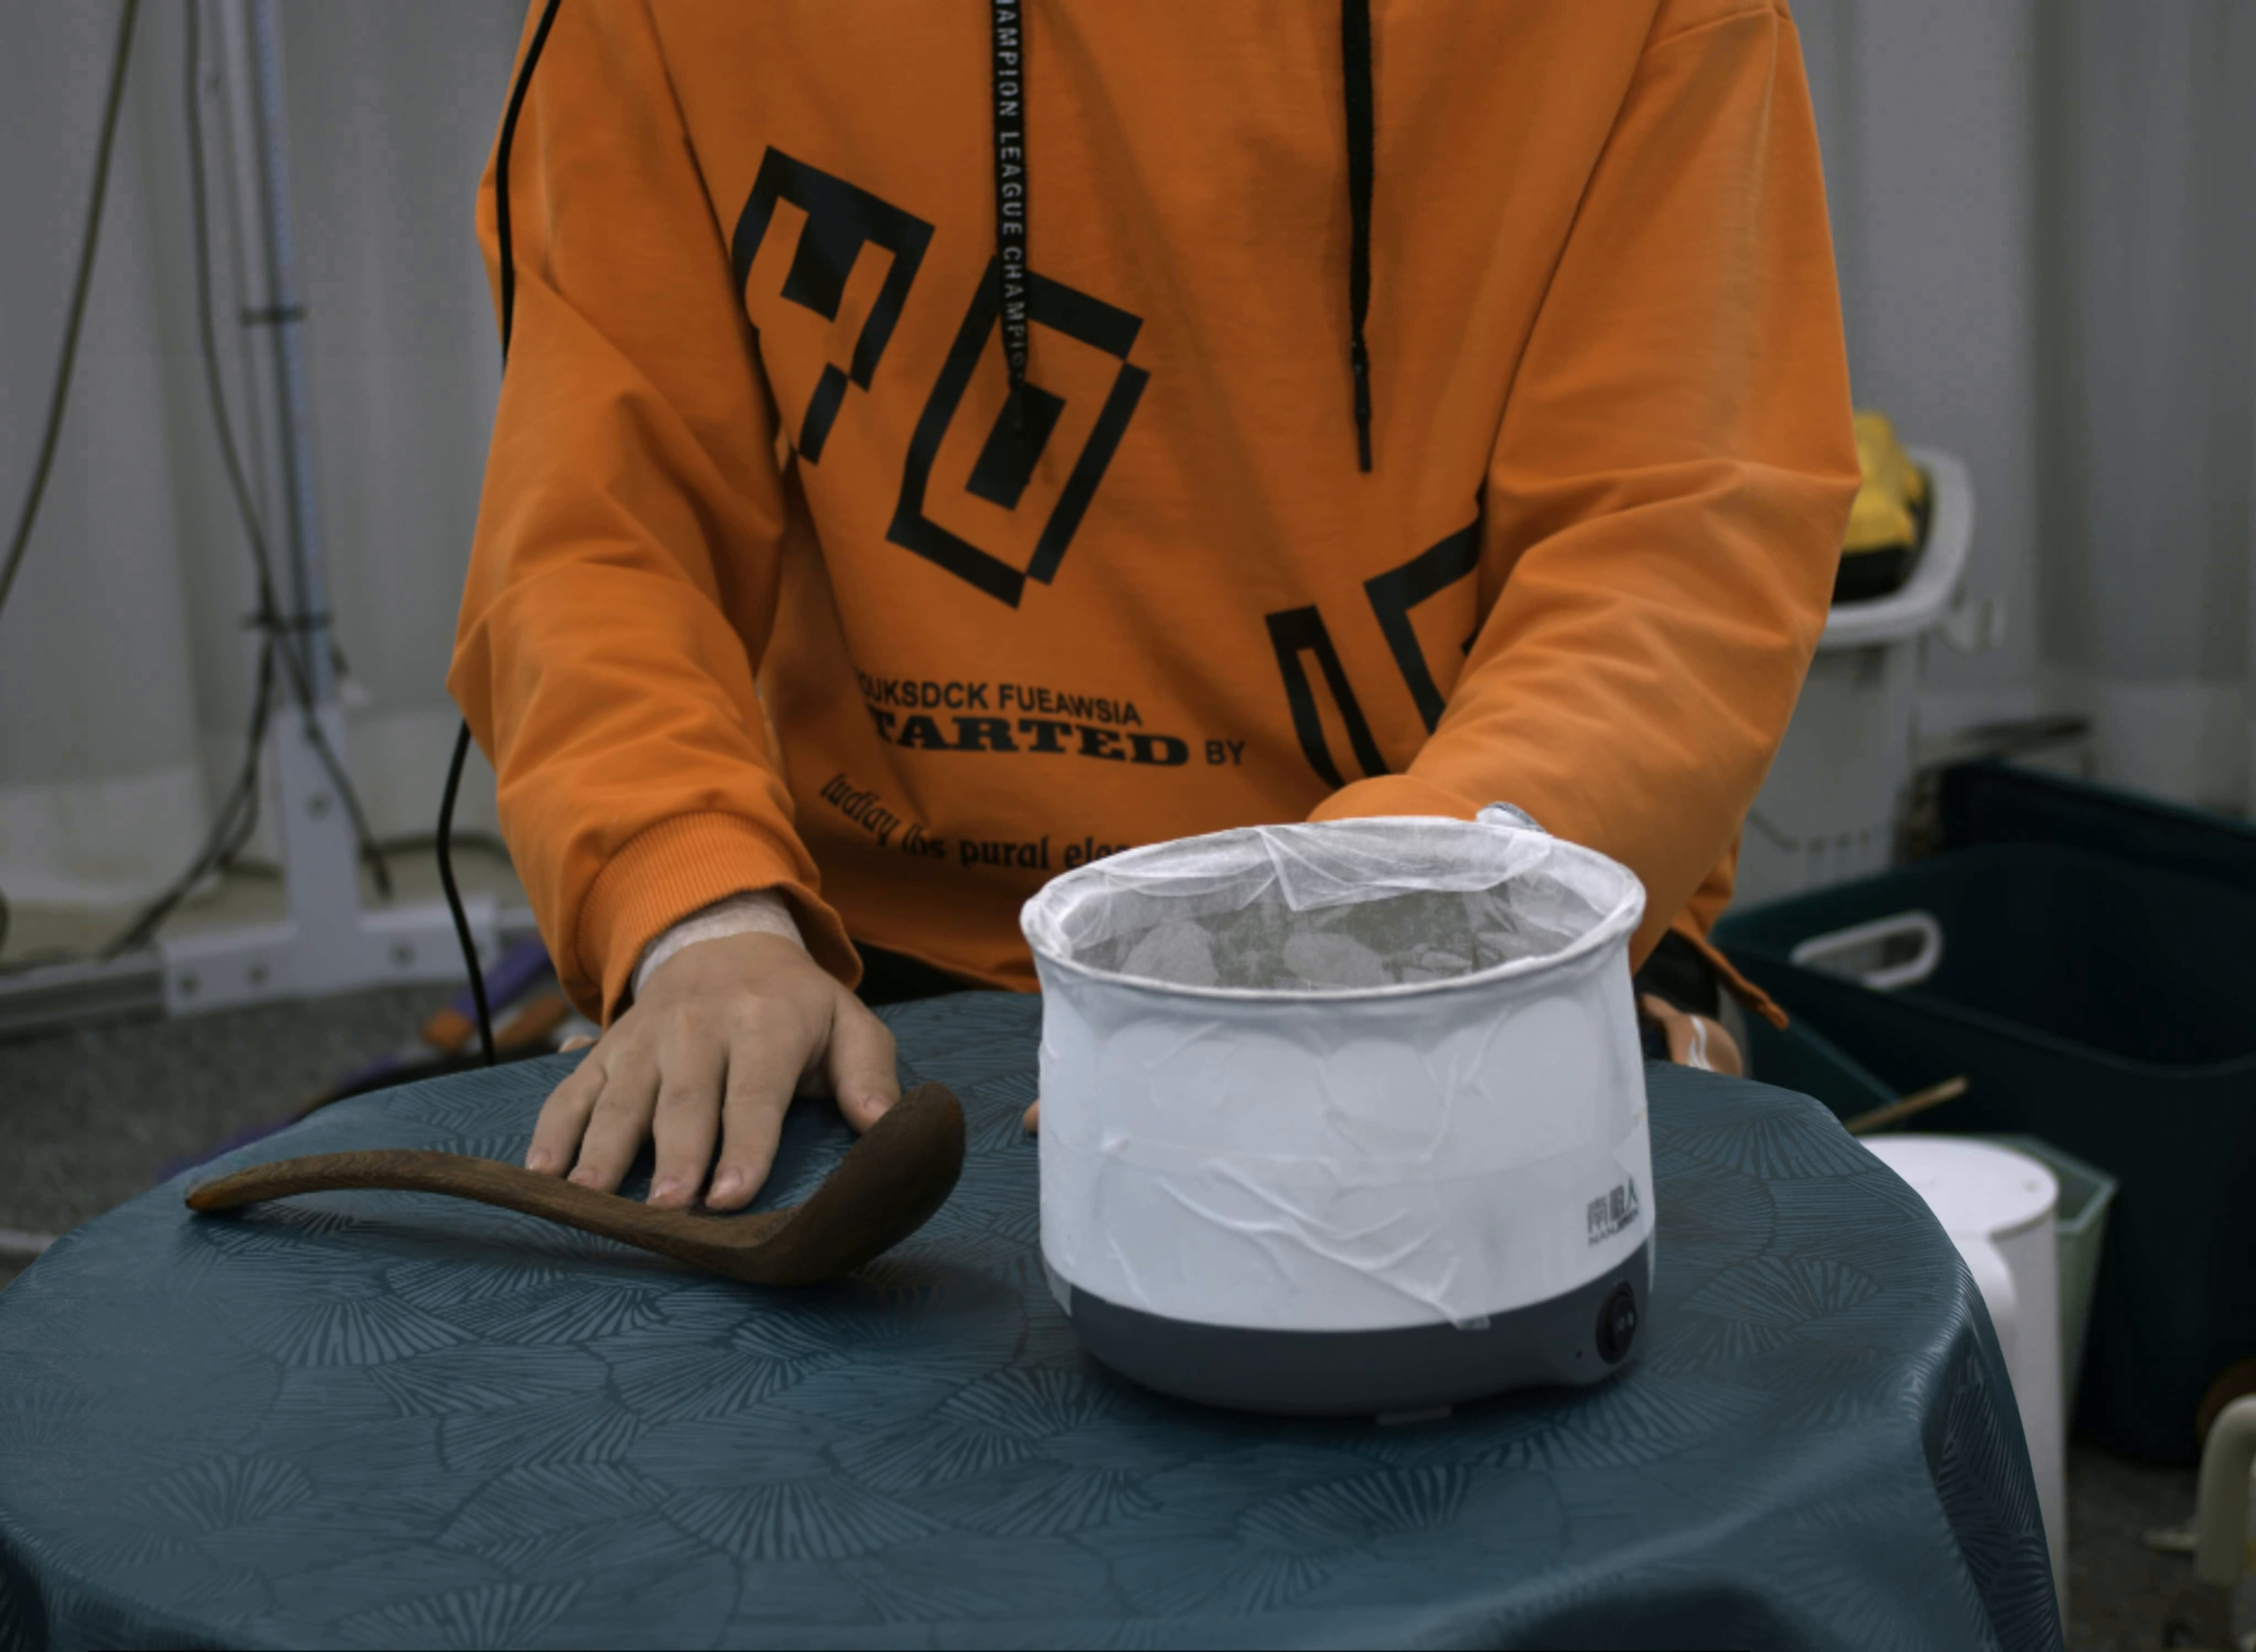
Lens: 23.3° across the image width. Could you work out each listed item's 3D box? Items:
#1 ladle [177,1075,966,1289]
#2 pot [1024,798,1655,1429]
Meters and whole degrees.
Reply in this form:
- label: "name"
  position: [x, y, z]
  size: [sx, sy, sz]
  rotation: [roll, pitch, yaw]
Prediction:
- label: "ladle"
  position: [-0.176, 0.098, 1.679]
  size: [0.274, 0.071, 0.076]
  rotation: [5, 11, 27]
- label: "pot"
  position: [0.075, 0.076, 1.582]
  size: [0.179, 0.136, 0.234]
  rotation: [6, 18, 30]
